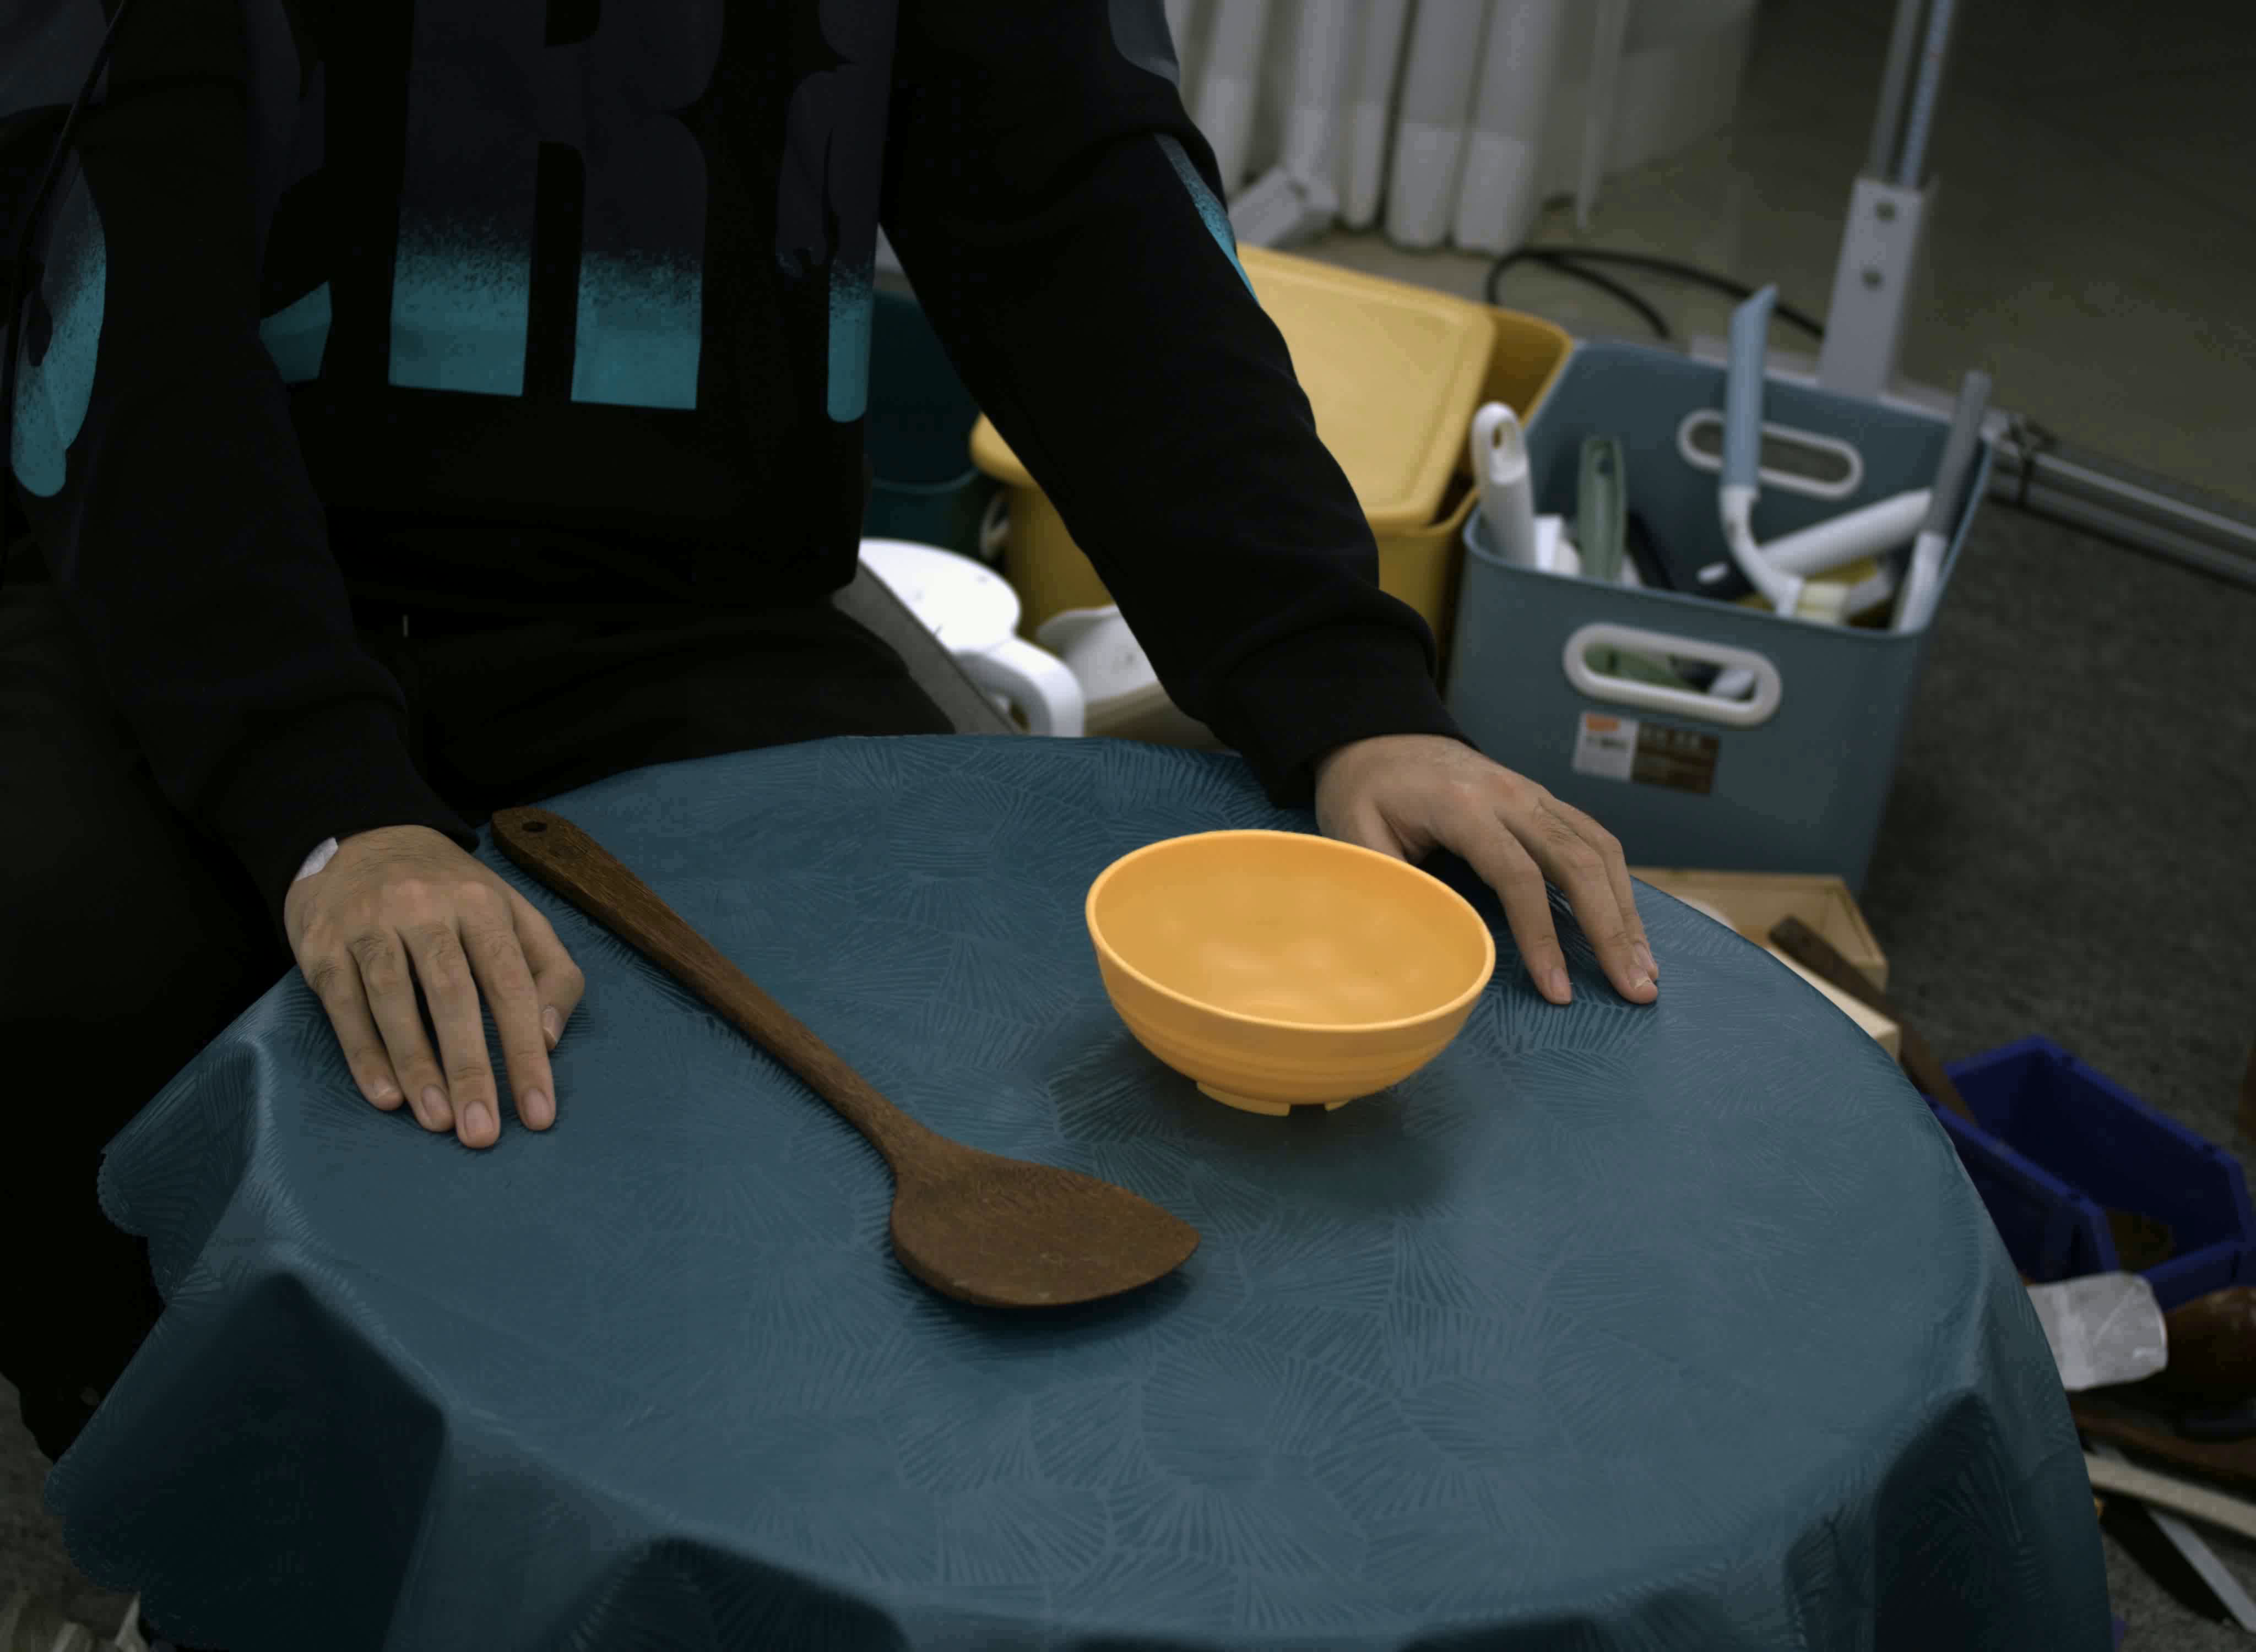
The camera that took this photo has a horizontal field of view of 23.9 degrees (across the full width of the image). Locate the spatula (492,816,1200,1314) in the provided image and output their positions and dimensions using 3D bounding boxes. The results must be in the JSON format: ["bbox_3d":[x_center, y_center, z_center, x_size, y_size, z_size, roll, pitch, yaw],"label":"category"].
[{"bbox_3d":[-0.118,0.075,1.855,0.095,0.016,0.389,-13,32,-35],"label":"spatula"}]

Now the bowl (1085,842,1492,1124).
[{"bbox_3d":[0.052,0.063,1.871,0.145,0.060,0.146,7,24,-3],"label":"bowl"}]
